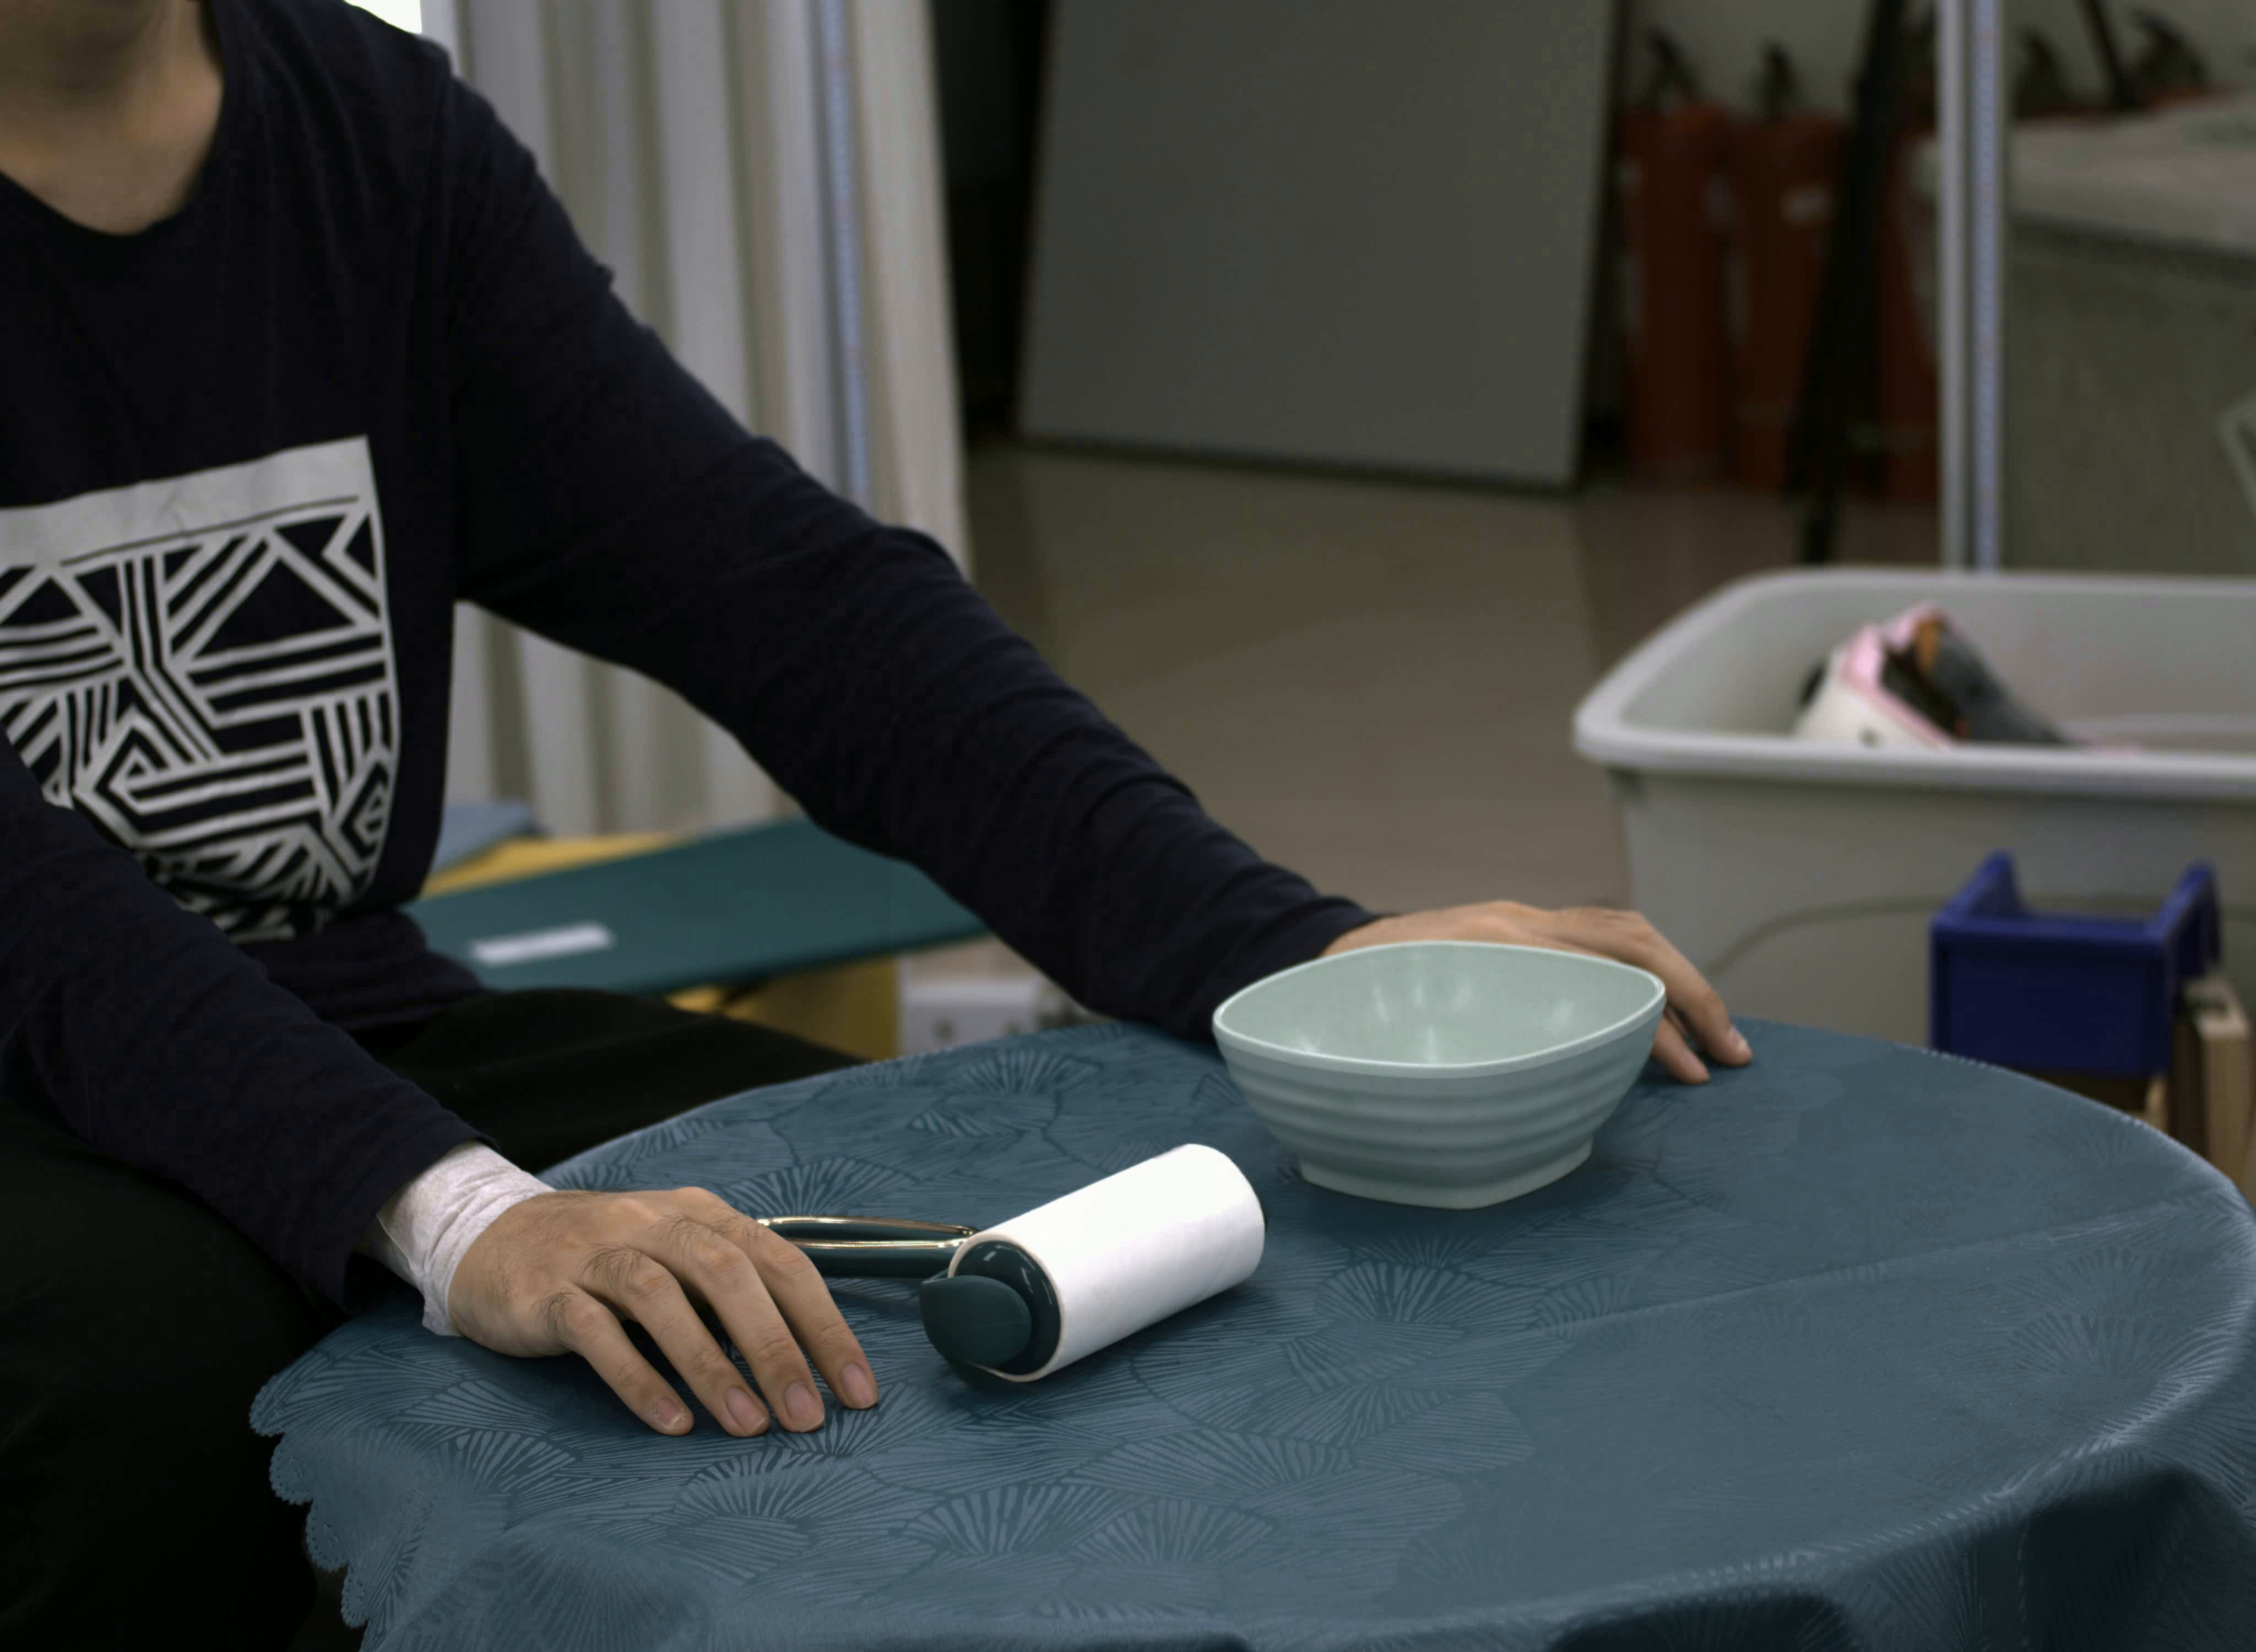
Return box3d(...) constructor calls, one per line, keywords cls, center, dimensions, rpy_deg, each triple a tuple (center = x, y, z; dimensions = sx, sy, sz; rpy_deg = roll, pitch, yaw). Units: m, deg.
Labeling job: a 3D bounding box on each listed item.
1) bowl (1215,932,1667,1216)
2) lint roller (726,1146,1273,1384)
box3d(cls="bowl", center=(0.104, 0.084, 1.773), dimensions=(0.149, 0.059, 0.152), rpy_deg=(-3, 16, 0))
box3d(cls="lint roller", center=(-0.058, 0.129, 1.675), dimensions=(0.181, 0.049, 0.132), rpy_deg=(3, 15, 39))
